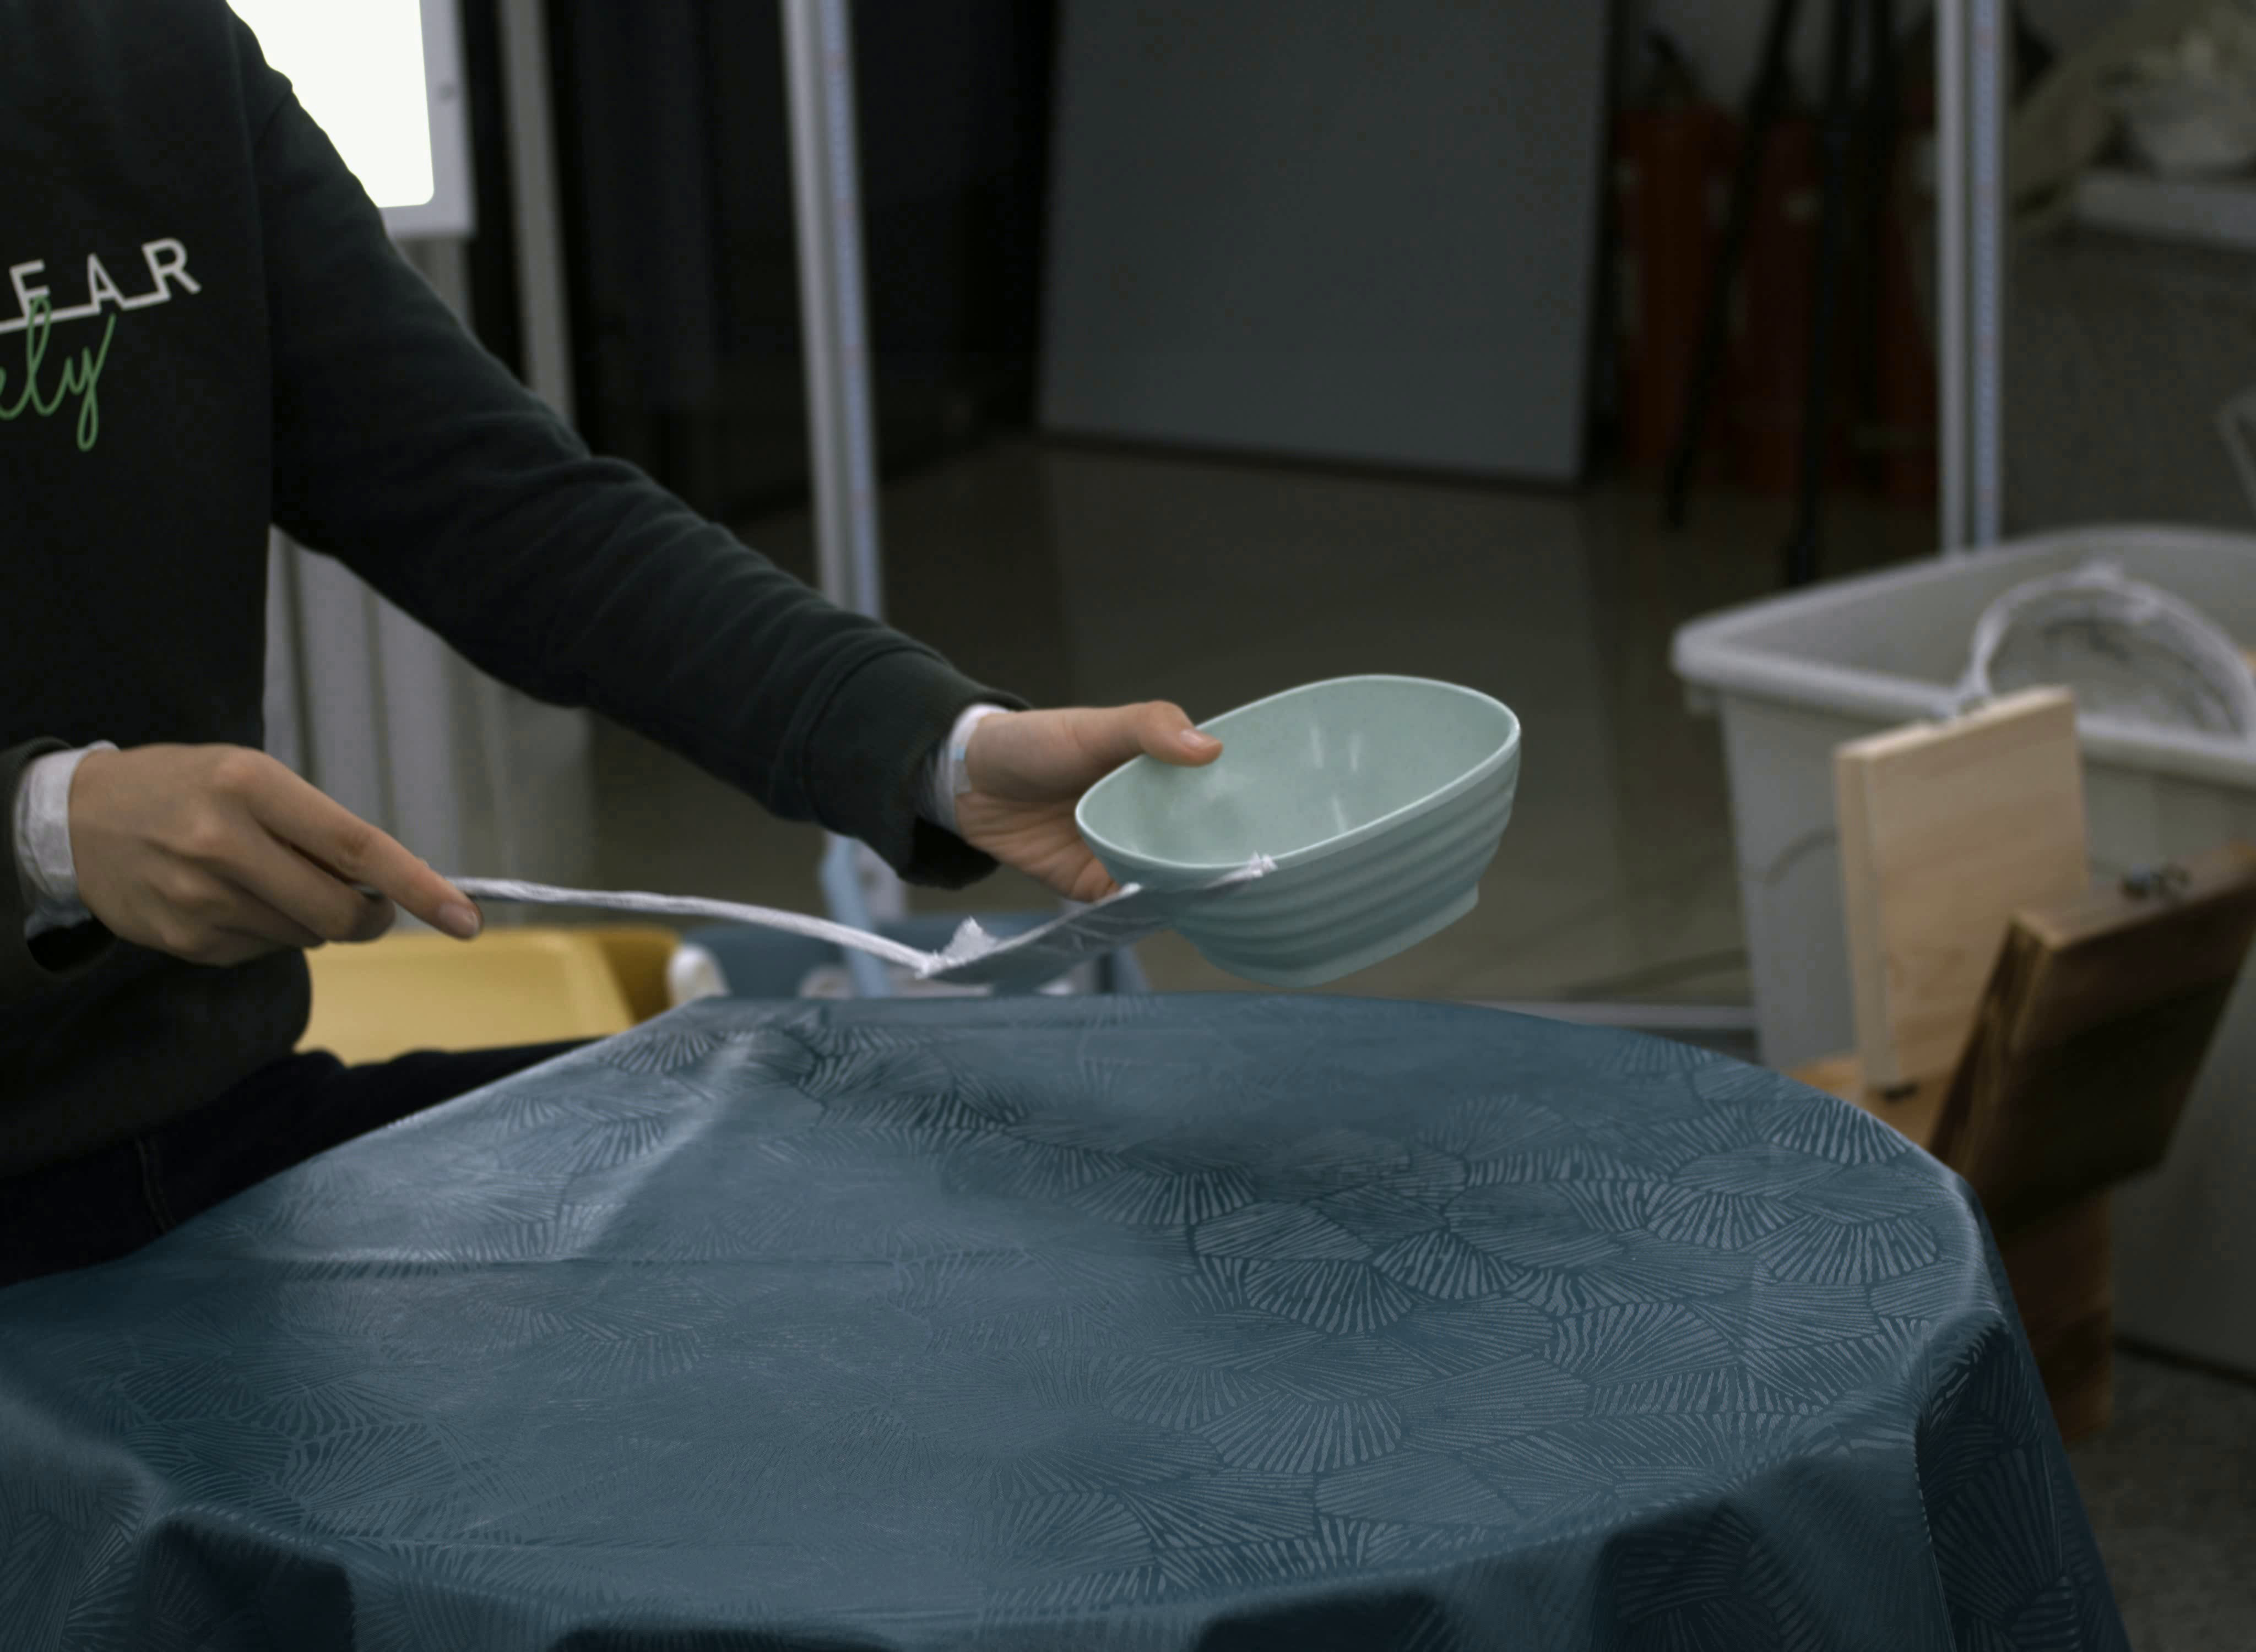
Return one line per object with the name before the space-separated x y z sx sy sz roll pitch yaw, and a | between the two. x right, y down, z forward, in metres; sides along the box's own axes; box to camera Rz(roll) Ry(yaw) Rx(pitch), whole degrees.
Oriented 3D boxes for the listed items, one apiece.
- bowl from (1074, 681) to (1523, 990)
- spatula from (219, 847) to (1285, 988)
bowl | 0.060 0.007 1.752 0.150 0.059 0.152 -13 19 3
spatula | -0.127 0.021 1.609 0.365 0.045 0.097 4 8 27
